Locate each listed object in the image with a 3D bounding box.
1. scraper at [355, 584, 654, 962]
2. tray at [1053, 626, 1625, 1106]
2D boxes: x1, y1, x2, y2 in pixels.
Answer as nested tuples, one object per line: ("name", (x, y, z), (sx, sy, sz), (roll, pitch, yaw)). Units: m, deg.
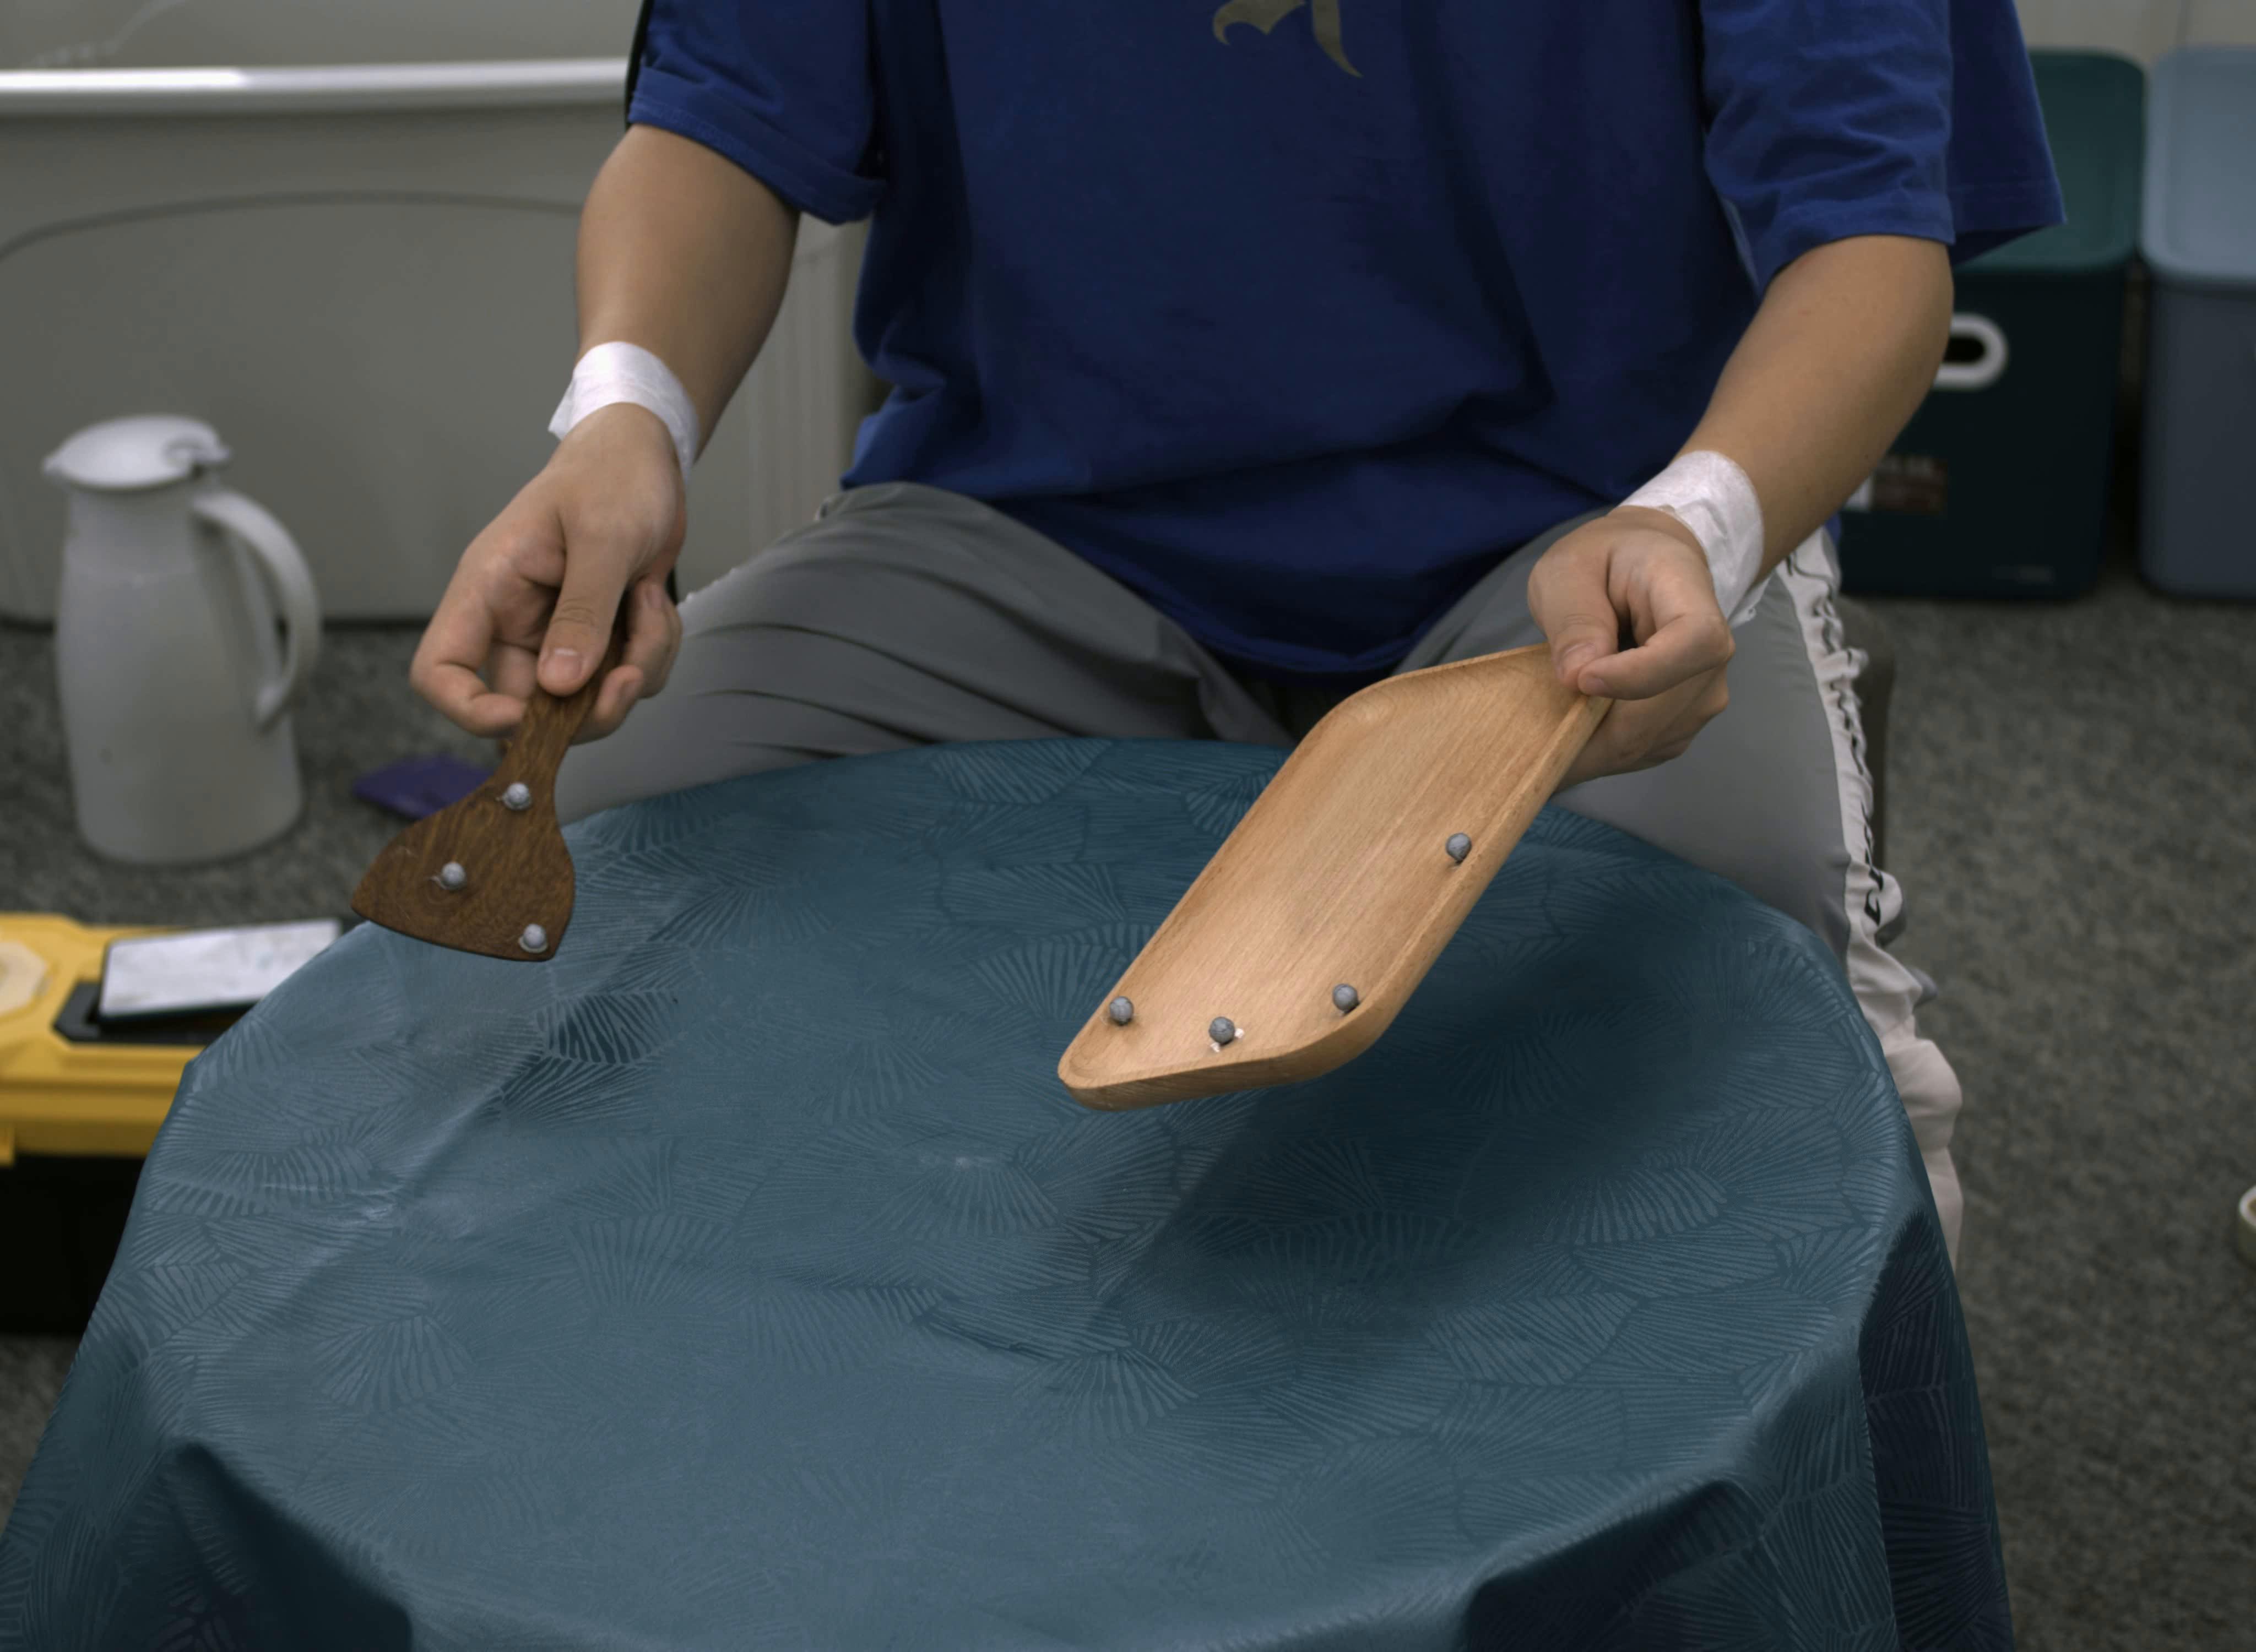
("scraper", (-0.209, -0.021, 1.996), (0.075, 0.010, 0.215), (14, 40, 5))
("tray", (0.073, 0.012, 1.864), (0.129, 0.023, 0.255), (-9, 27, 36))
